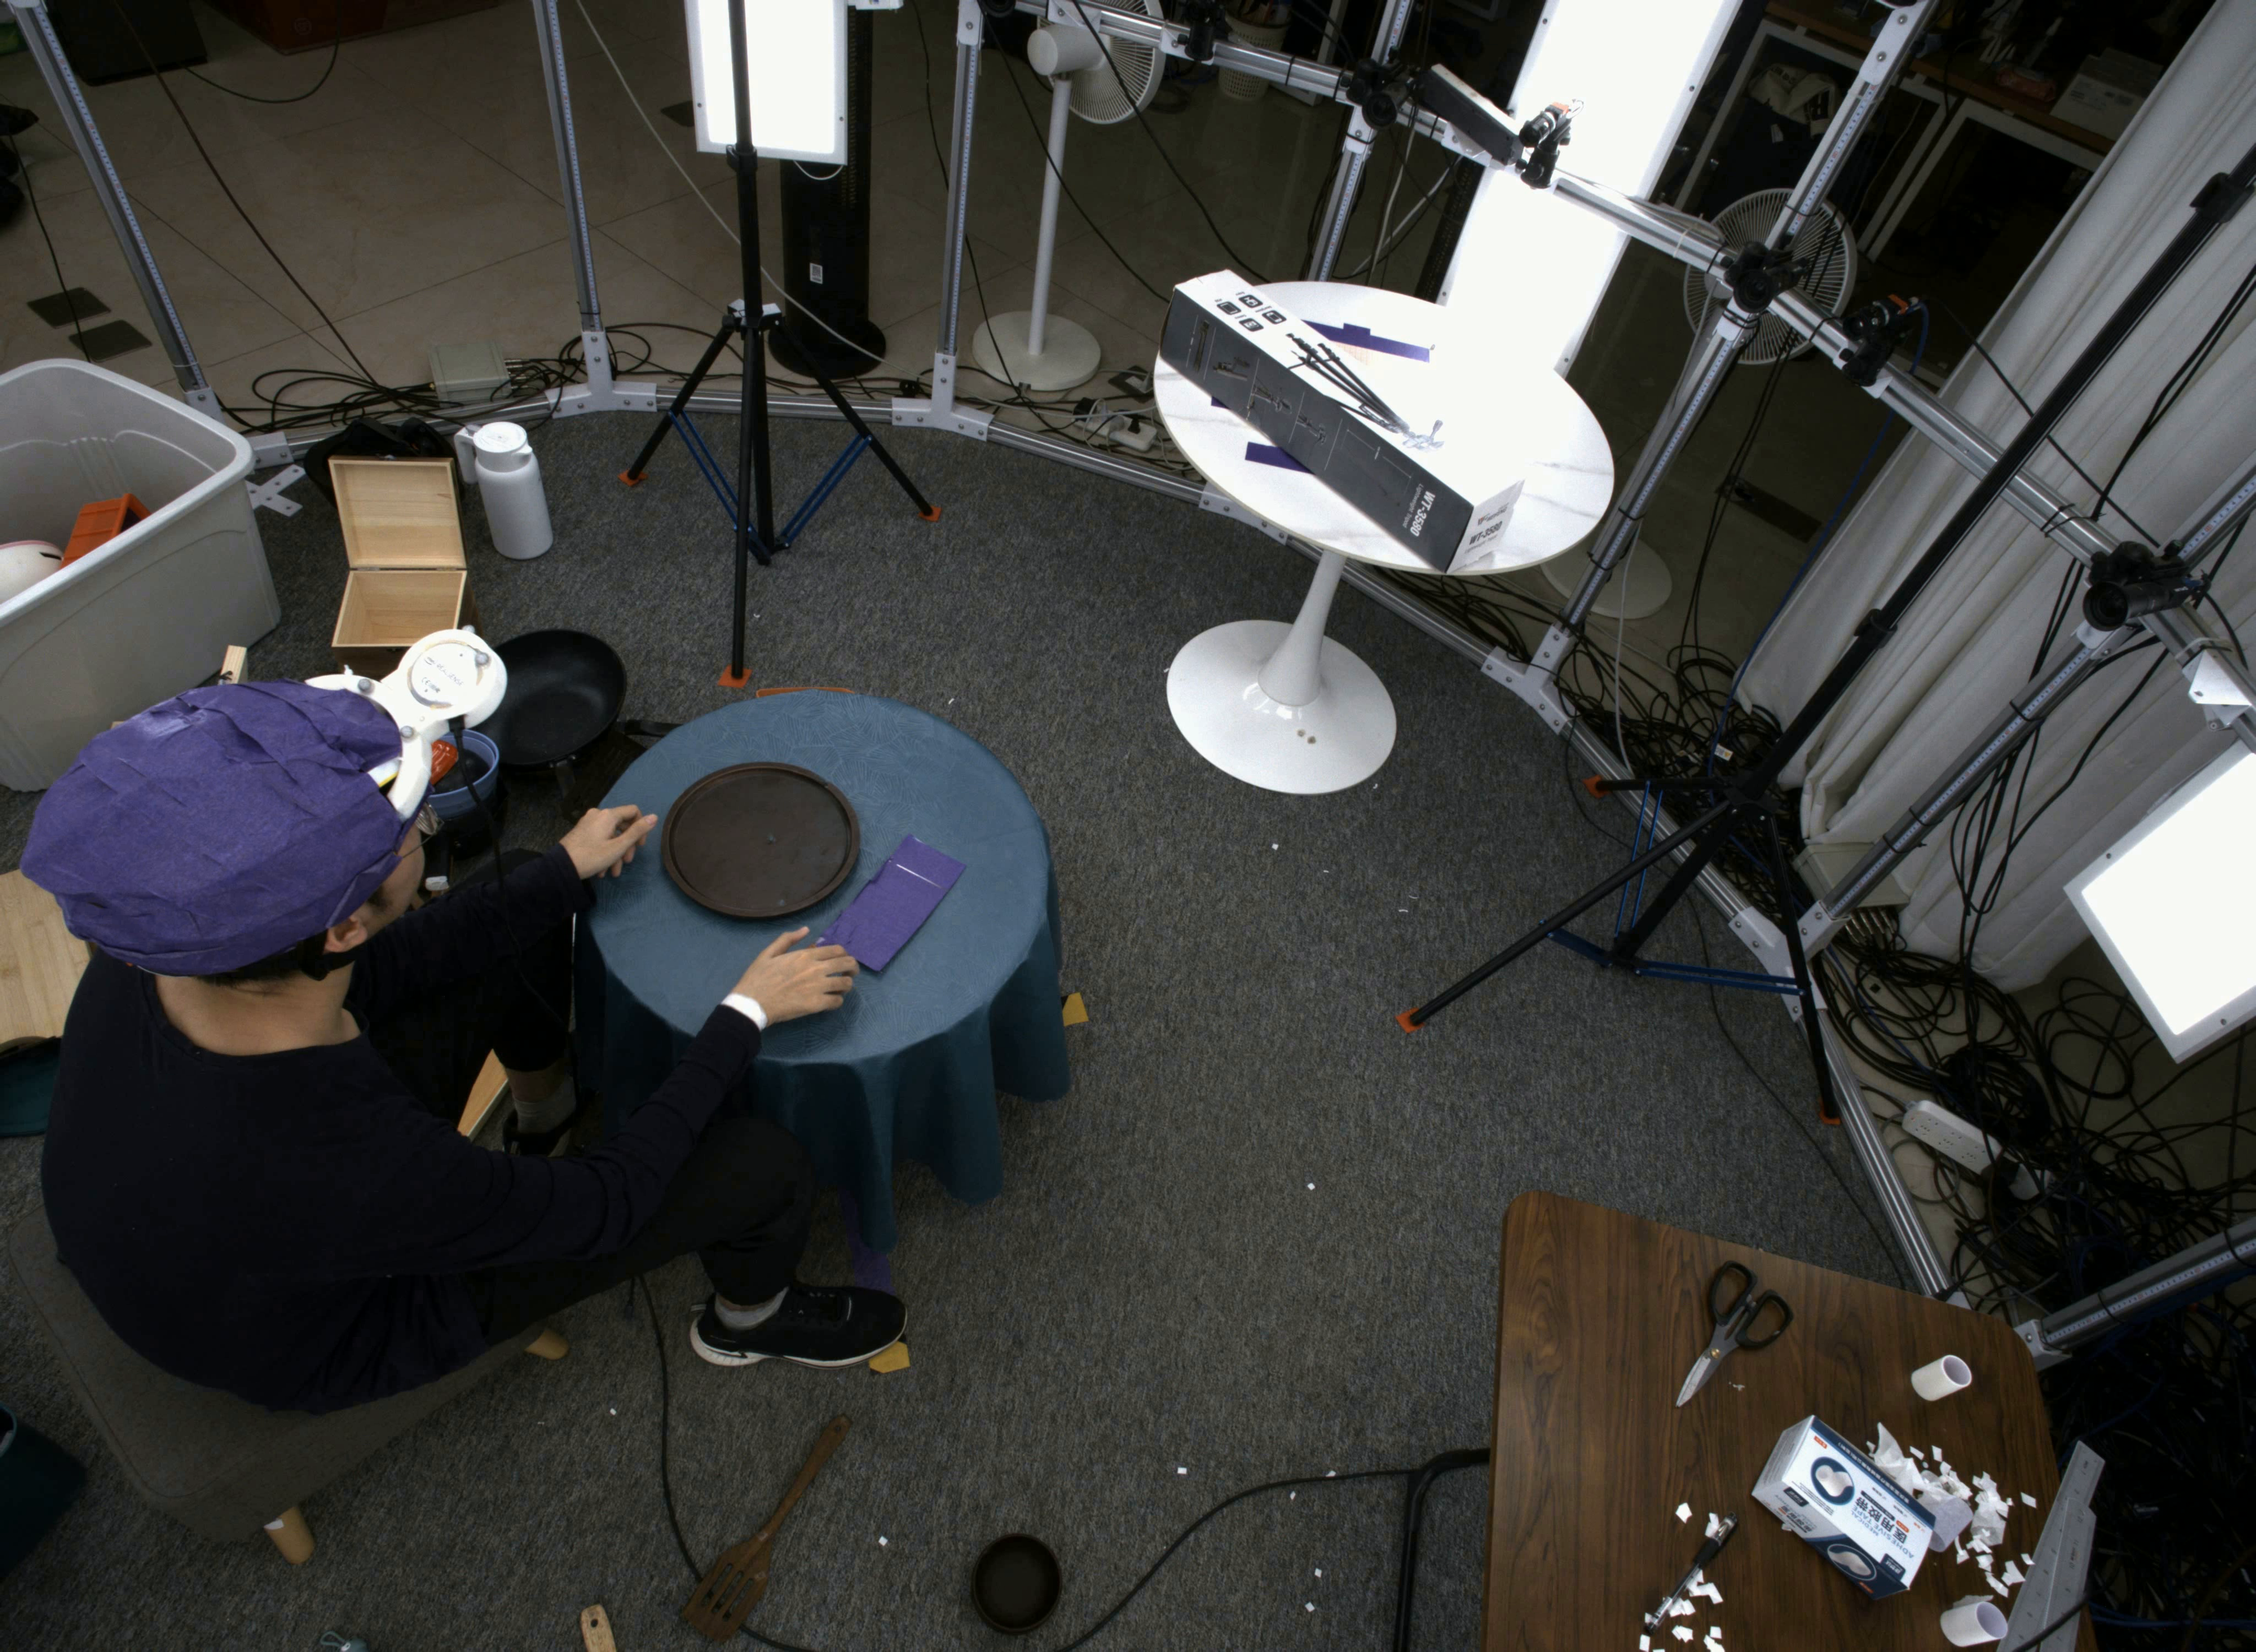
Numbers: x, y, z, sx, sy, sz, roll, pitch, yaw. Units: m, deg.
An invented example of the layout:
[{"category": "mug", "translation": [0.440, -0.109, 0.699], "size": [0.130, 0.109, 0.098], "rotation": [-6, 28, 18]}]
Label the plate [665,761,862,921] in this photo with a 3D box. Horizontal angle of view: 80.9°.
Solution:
[{"category": "plate", "translation": [-0.475, 0.017, 1.694], "size": [0.254, 0.029, 0.250], "rotation": [8, 52, -9]}]

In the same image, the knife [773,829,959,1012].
[{"category": "knife", "translation": [-0.324, 0.123, 1.652], "size": [0.102, 0.033, 0.313], "rotation": [28, 52, 7]}]
